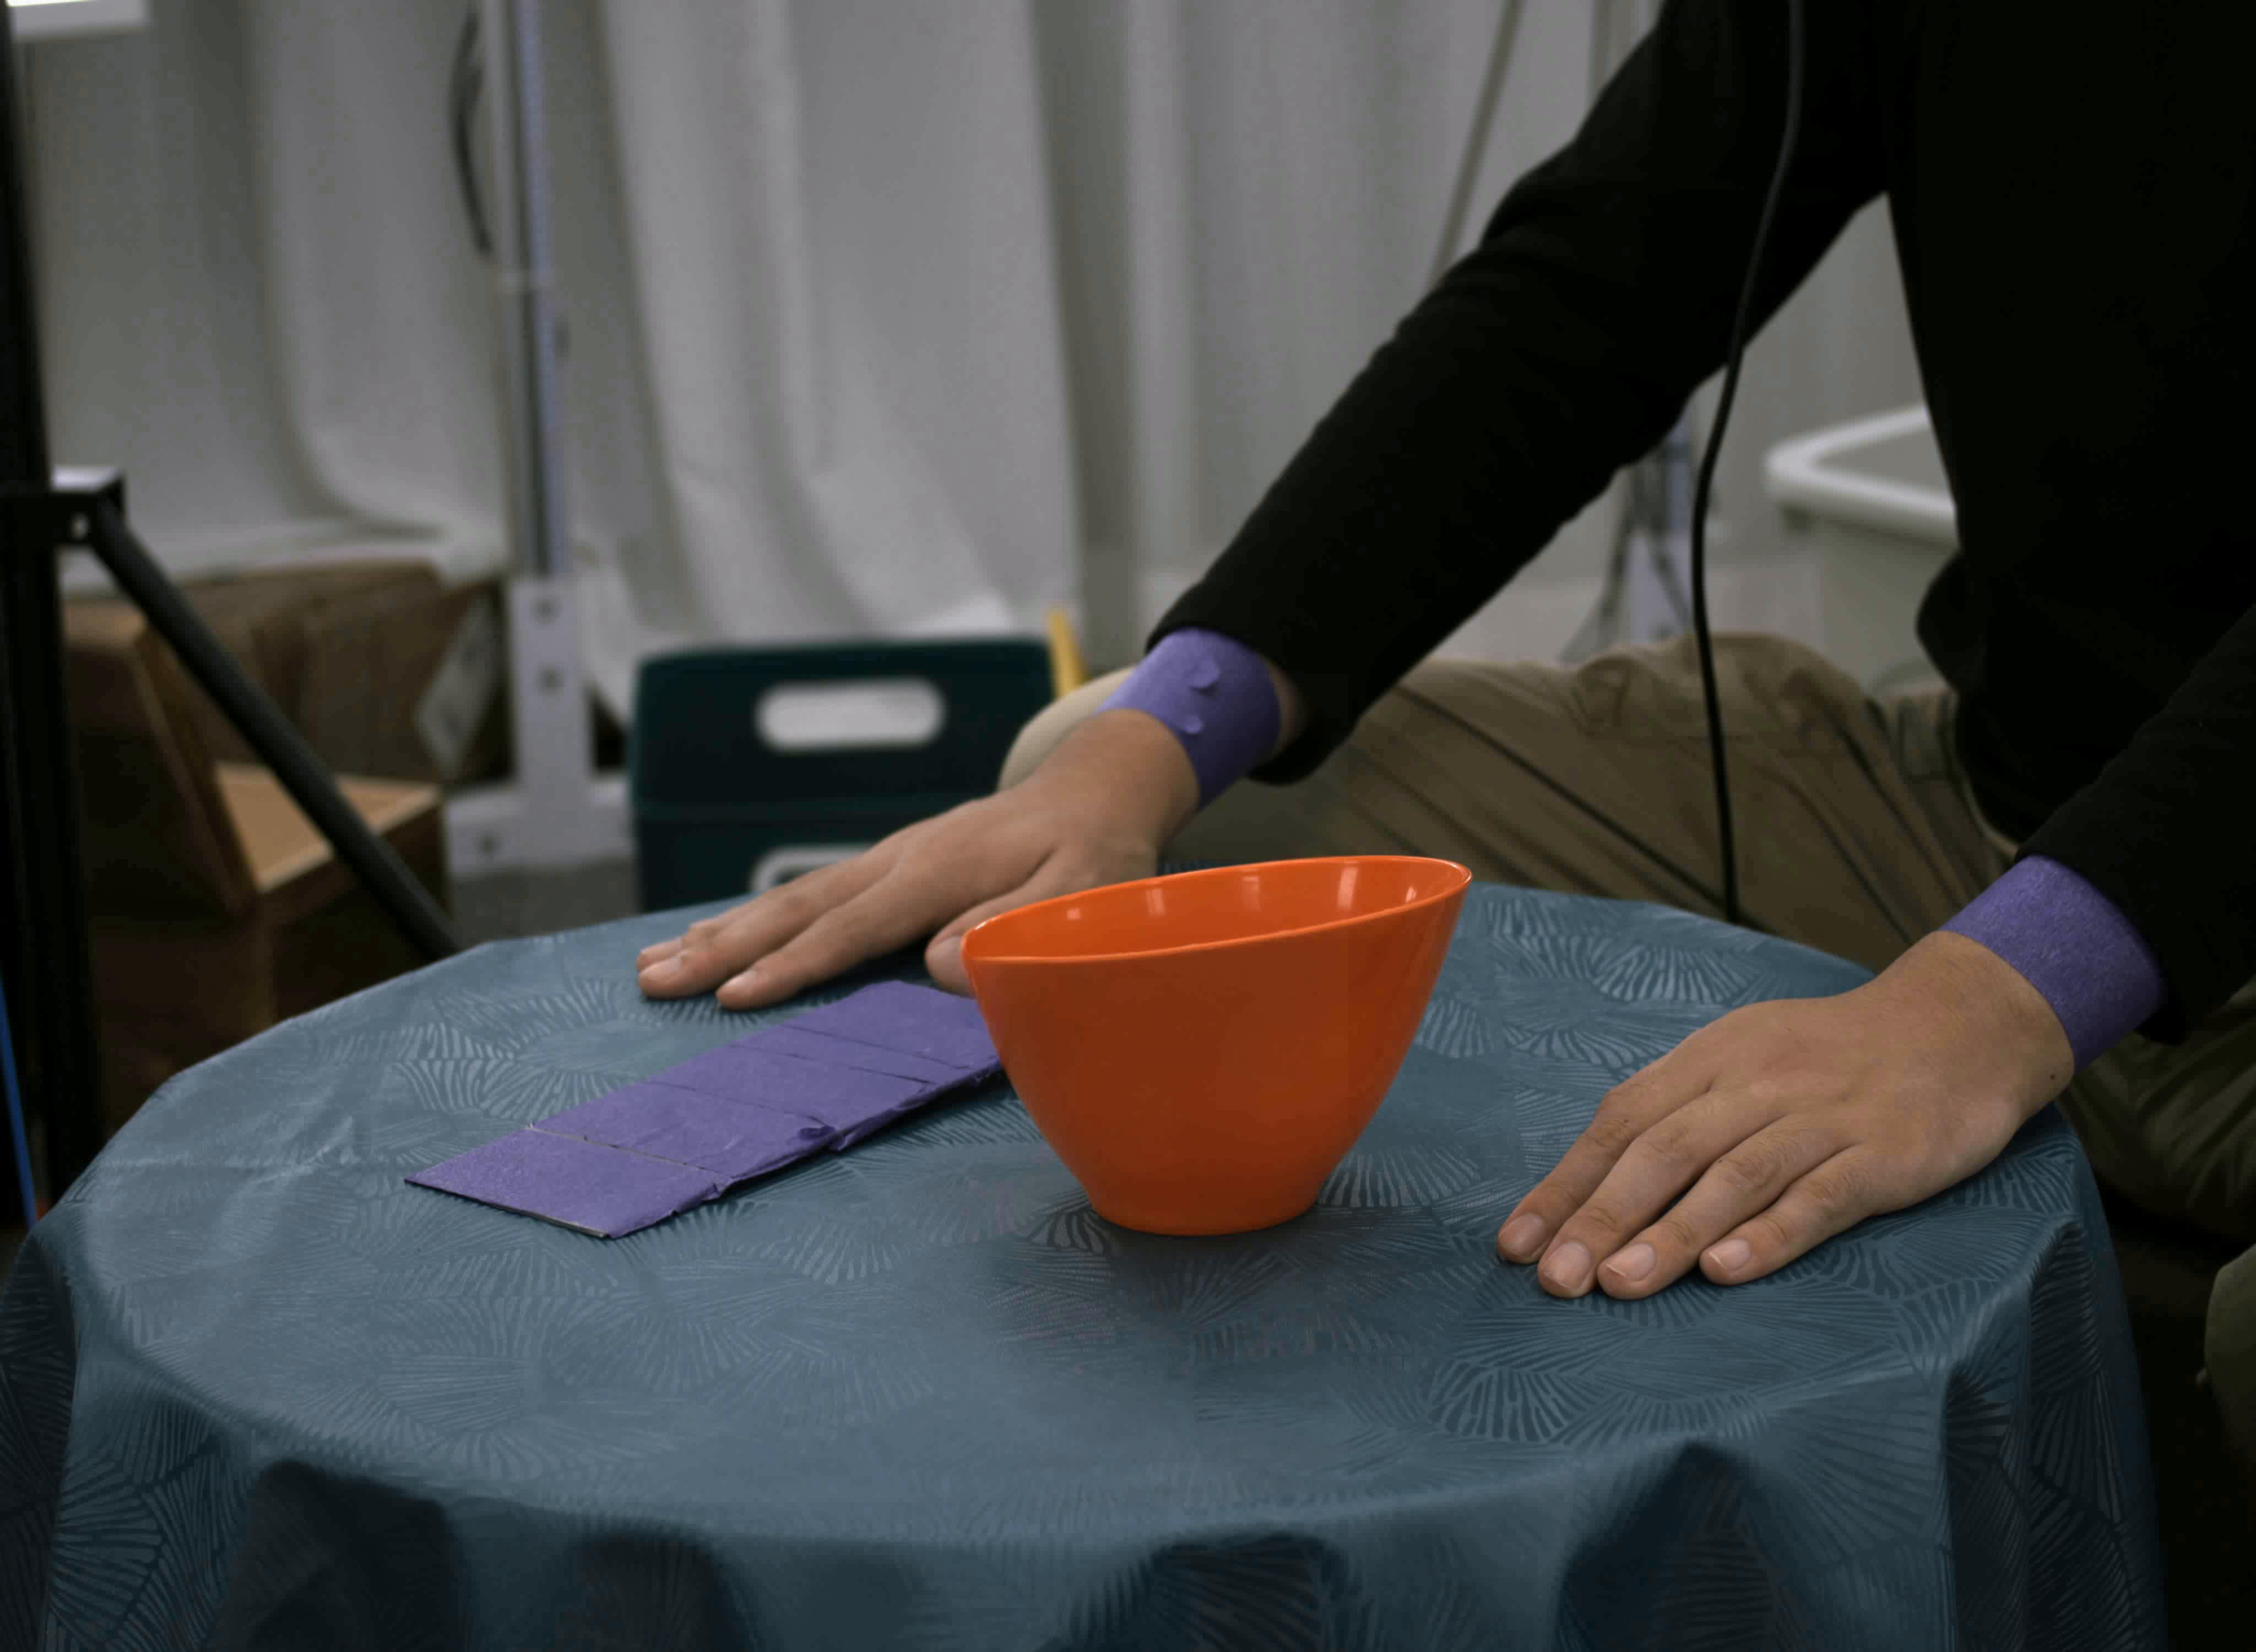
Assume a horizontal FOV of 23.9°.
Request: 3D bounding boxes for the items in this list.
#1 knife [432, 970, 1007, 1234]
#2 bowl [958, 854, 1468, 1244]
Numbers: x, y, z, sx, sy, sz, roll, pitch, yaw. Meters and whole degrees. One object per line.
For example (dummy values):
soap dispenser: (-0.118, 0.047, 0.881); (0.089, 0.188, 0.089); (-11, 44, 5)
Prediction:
knife: (-0.079, 0.067, 1.664); (0.106, 0.032, 0.308); (12, 22, 41)
bowl: (0.026, 0.063, 1.524); (0.147, 0.104, 0.149); (-4, 15, 0)
